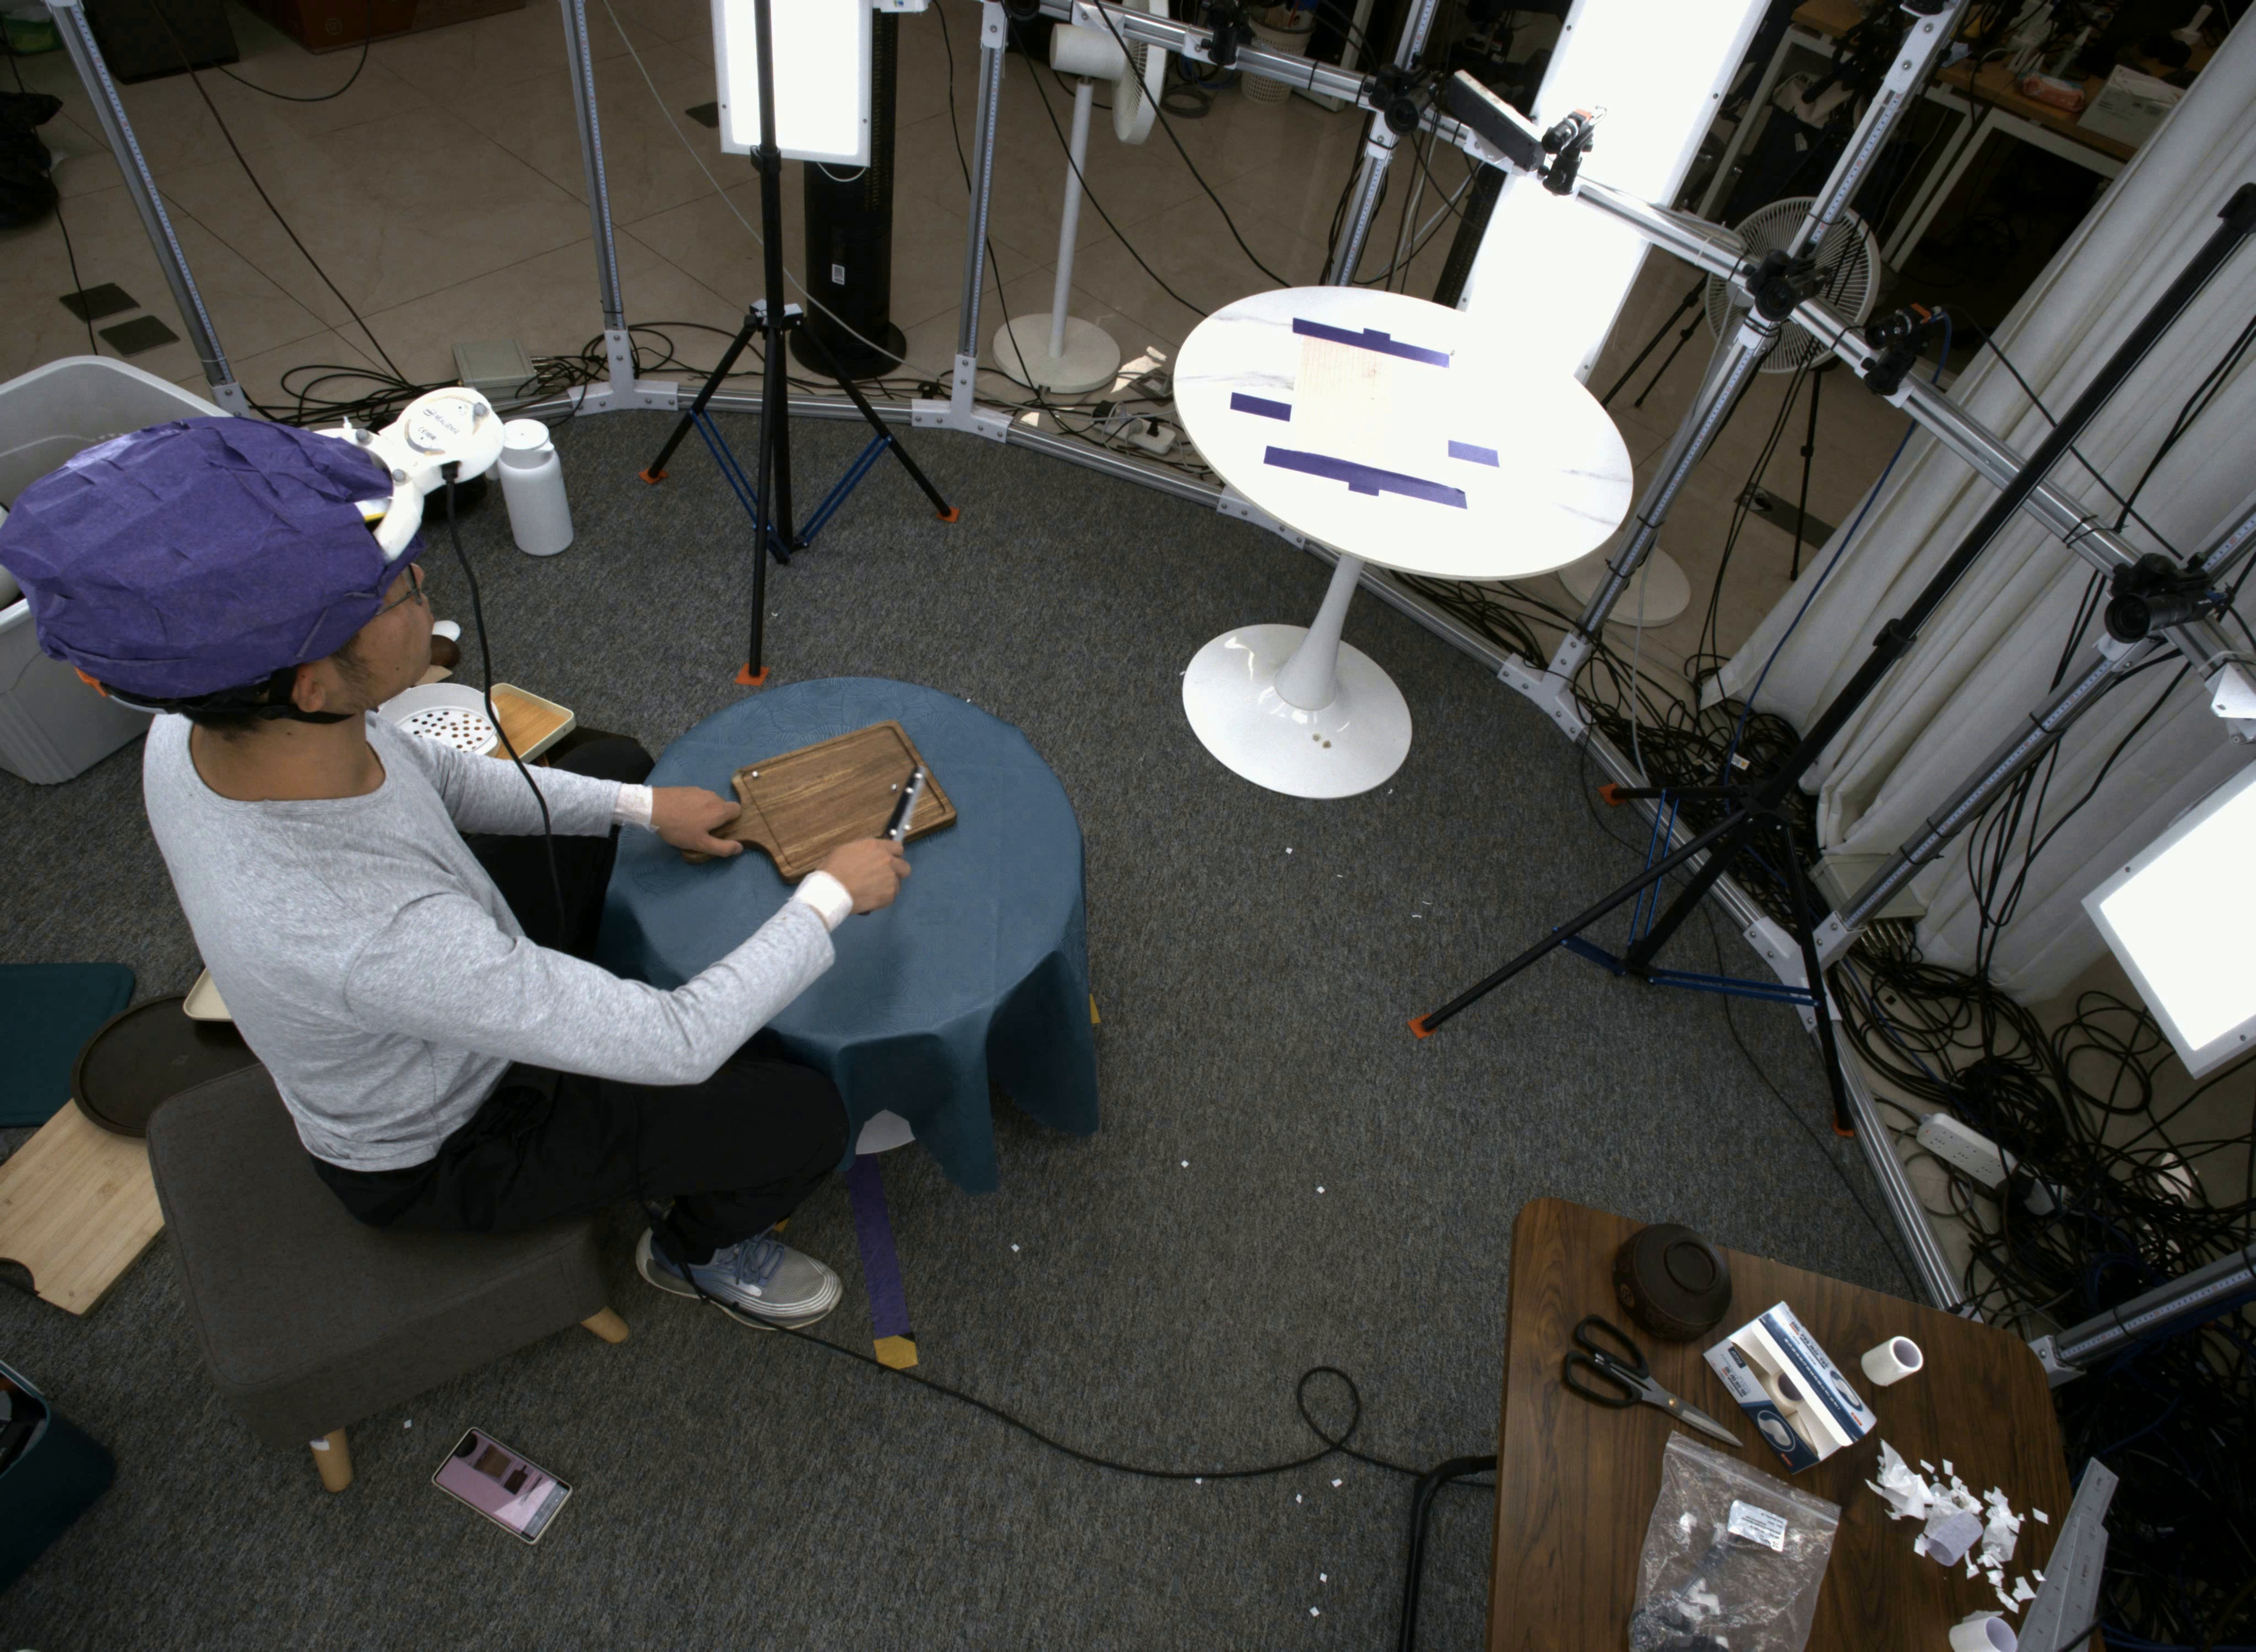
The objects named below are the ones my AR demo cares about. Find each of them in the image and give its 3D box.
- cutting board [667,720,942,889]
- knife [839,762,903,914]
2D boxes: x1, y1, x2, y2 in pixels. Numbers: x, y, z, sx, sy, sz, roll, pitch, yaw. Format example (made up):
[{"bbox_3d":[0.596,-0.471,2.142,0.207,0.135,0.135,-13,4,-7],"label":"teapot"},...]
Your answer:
[{"bbox_3d":[-0.446,-0.020,1.731,0.354,0.023,0.196,-23,62,-28],"label":"cutting board"},{"bbox_3d":[-0.317,0.008,1.630,0.019,0.052,0.284,1,40,6],"label":"knife"}]
